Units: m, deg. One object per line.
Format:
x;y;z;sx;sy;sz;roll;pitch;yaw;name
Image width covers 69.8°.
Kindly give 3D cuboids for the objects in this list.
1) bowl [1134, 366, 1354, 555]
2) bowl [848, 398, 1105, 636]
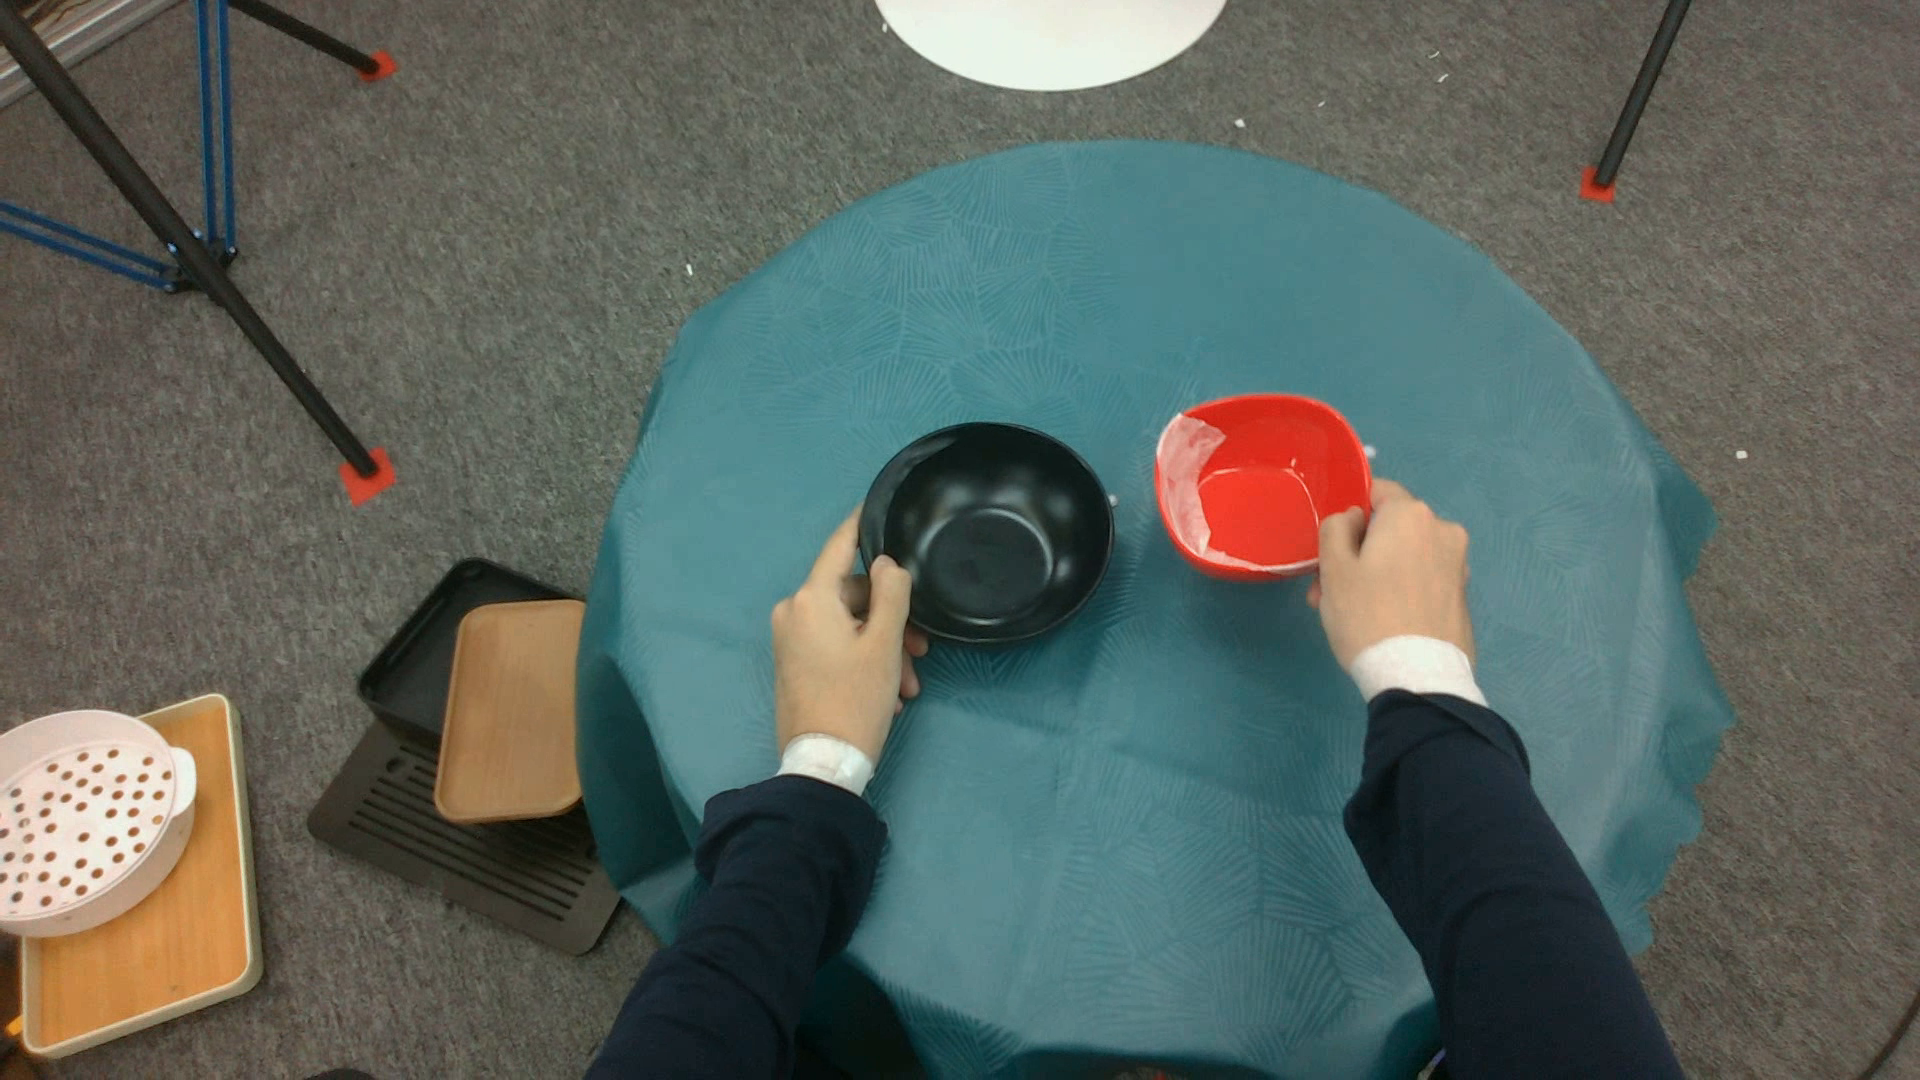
0.149;-0.034;0.733;0.119;0.051;0.119;-3;58;5;bowl
0.010;-0.007;0.761;0.140;0.049;0.140;-1;65;2;bowl
